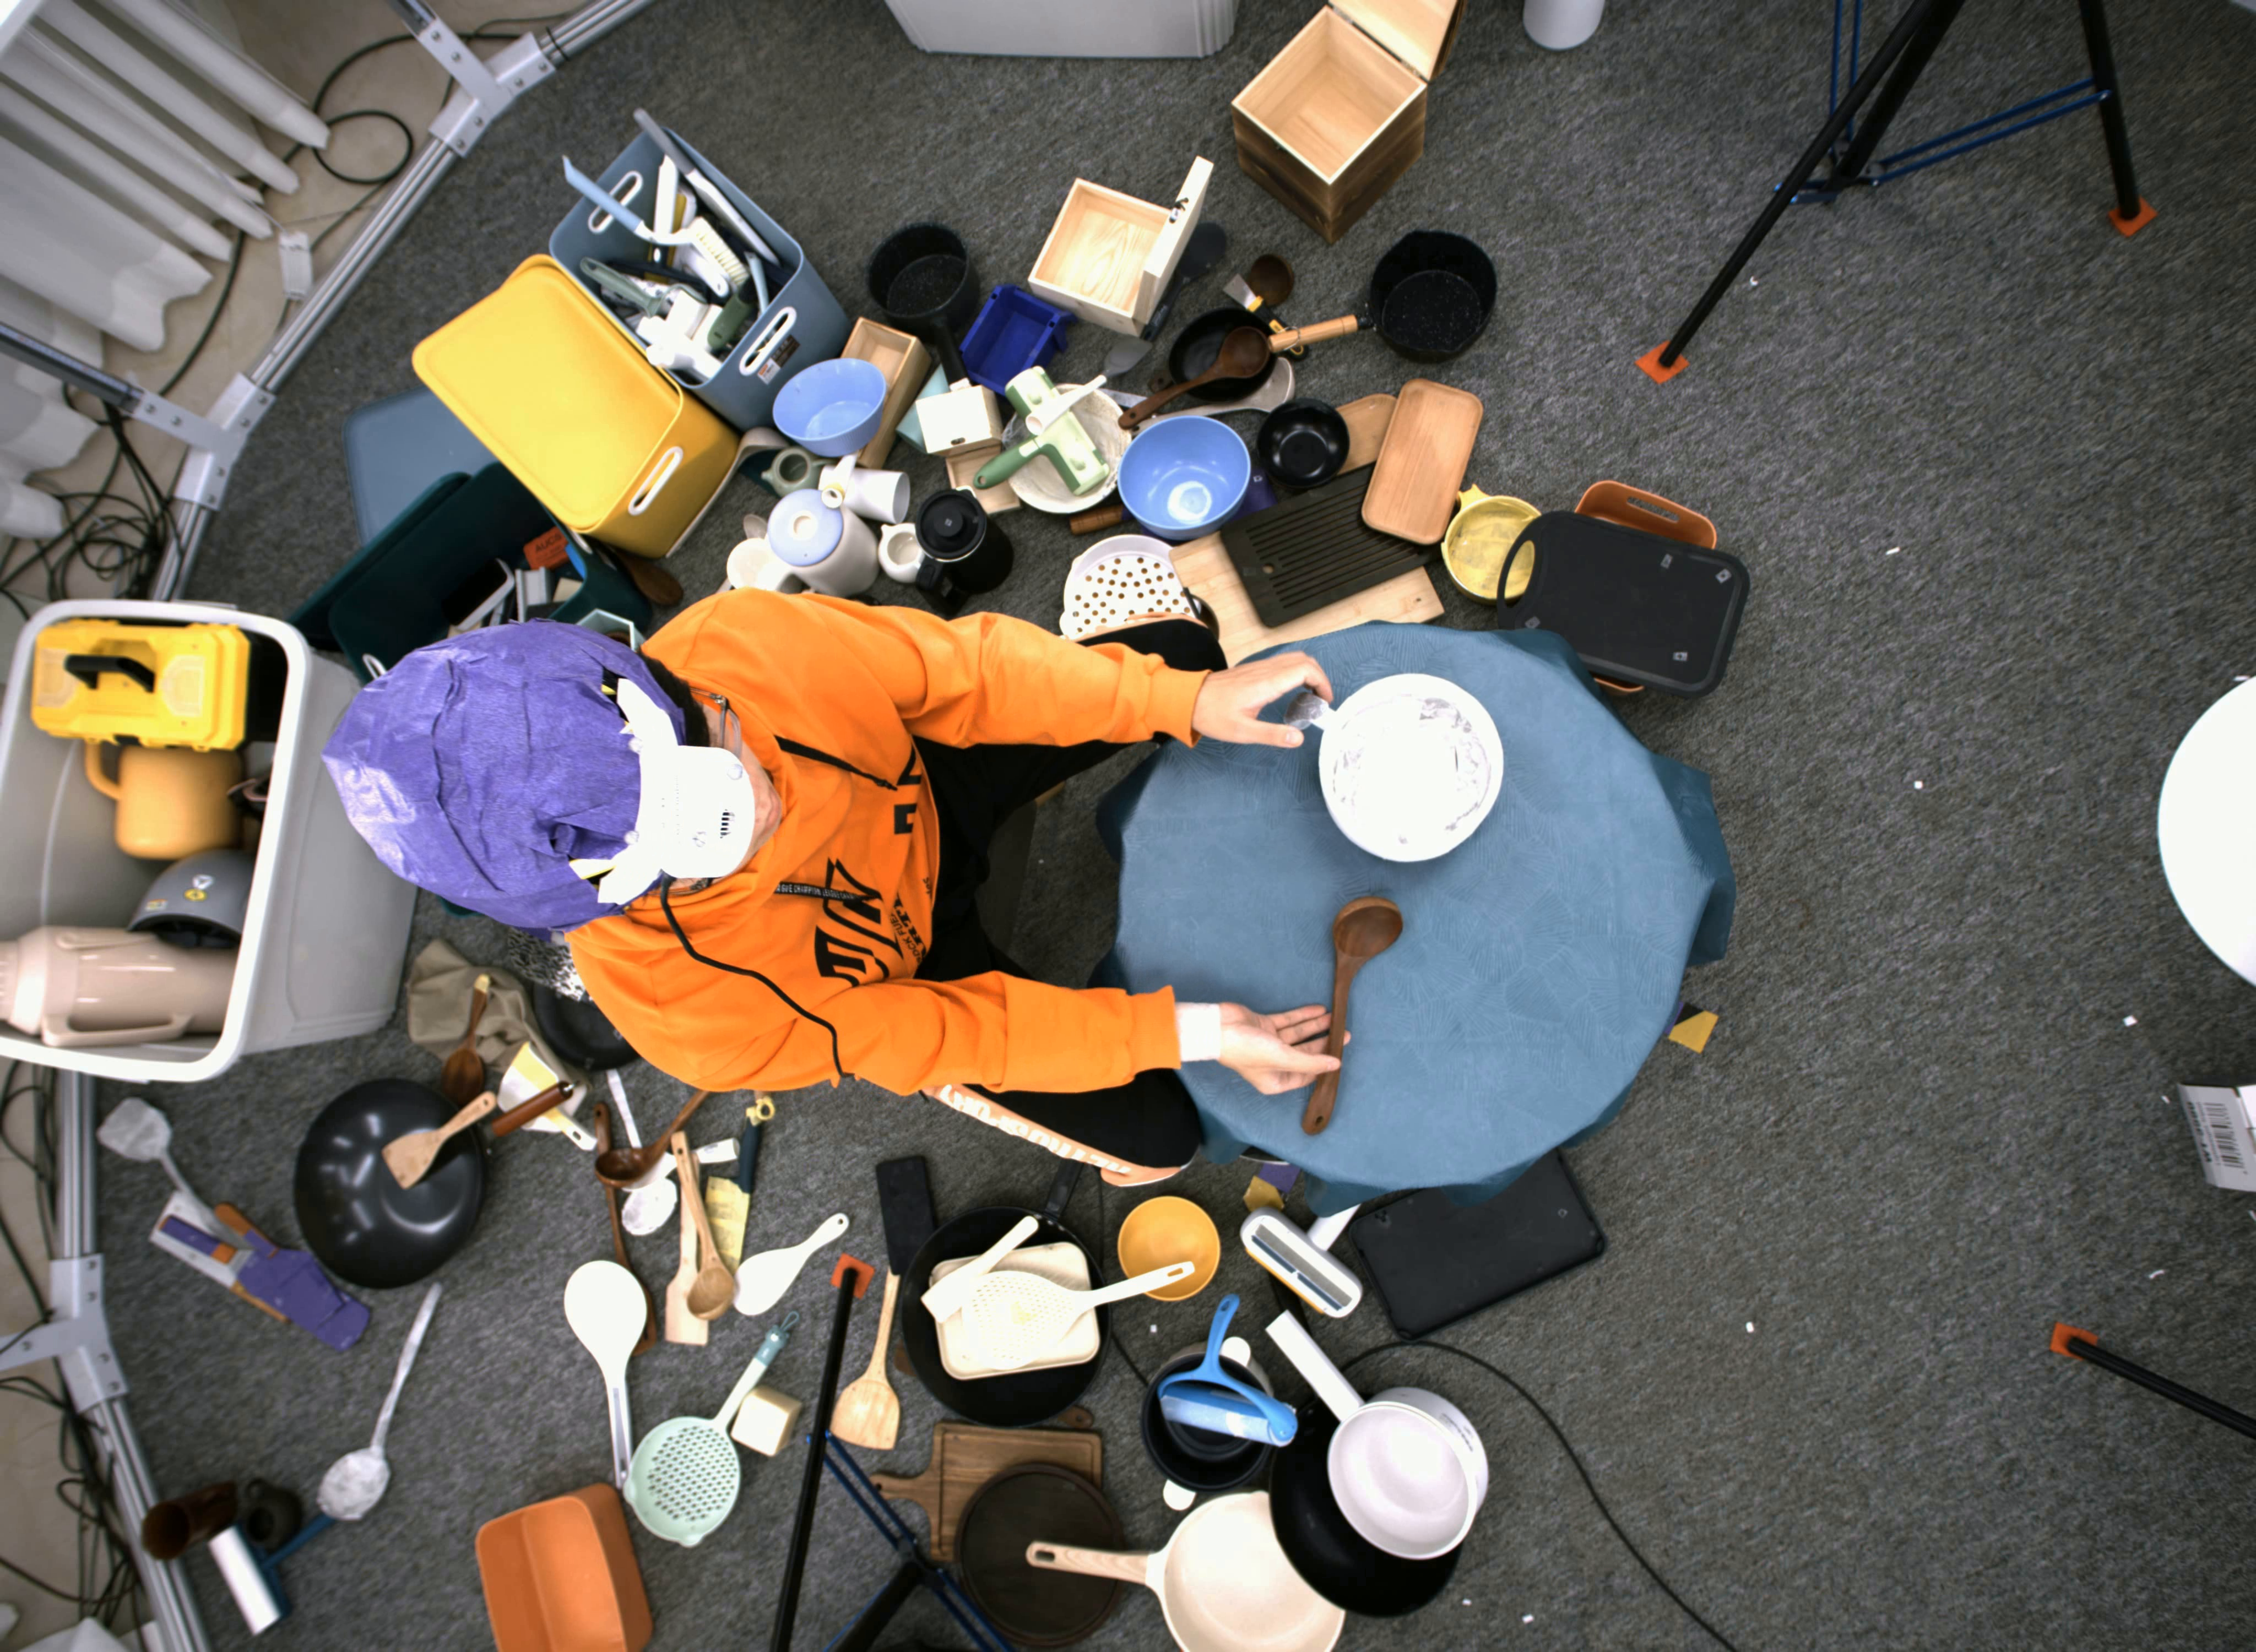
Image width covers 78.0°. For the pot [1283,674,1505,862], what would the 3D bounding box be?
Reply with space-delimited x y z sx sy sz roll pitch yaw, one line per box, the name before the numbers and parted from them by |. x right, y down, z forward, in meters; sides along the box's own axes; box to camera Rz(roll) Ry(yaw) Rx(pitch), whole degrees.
pot | 0.261 -0.070 1.400 0.233 0.137 0.179 31 91 11

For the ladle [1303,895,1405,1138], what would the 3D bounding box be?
ladle | 0.227 0.198 1.430 0.076 0.065 0.259 13 88 -15
